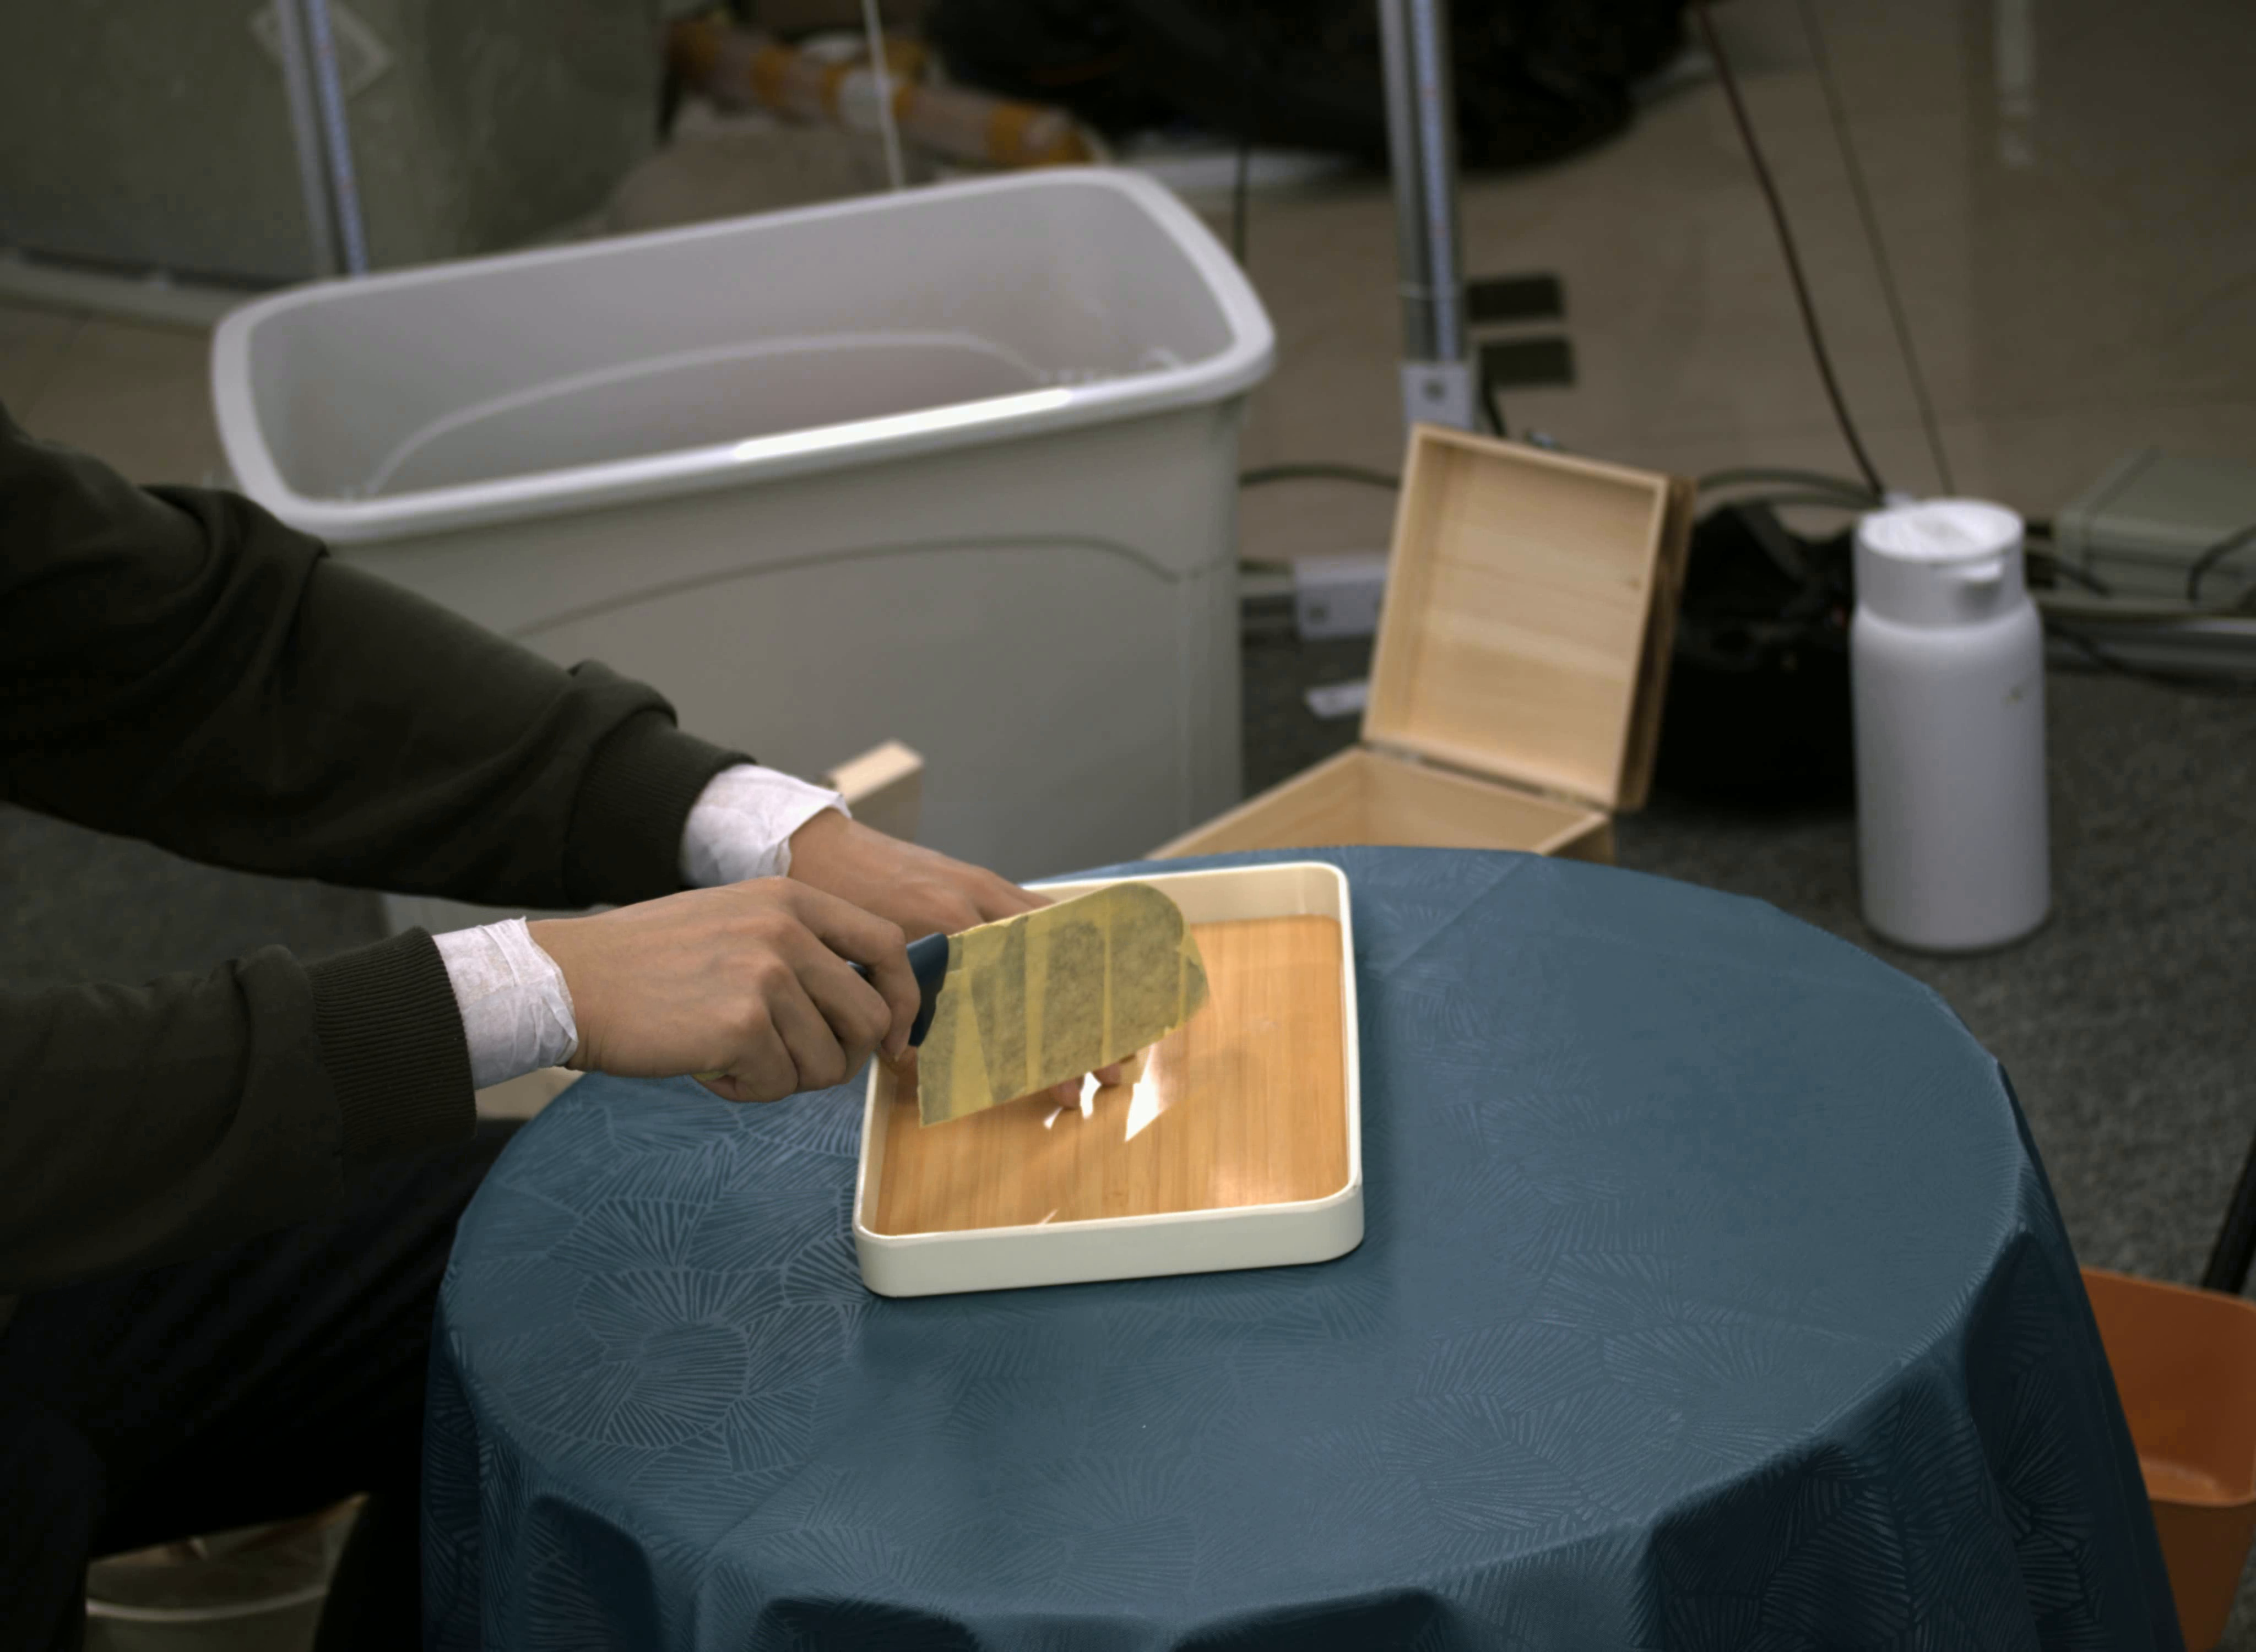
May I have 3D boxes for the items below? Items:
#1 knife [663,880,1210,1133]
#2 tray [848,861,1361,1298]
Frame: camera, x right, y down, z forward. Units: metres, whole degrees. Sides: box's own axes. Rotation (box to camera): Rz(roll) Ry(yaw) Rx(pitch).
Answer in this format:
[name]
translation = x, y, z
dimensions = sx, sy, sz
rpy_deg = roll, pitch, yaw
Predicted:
[knife]
translation = -0.064, 0.073, 2.118
dimensions = 0.027, 0.082, 0.288
rpy_deg = 12, 16, 41
[tray]
translation = -0.006, 0.095, 2.216
dimensions = 0.191, 0.028, 0.296
rpy_deg = -6, 24, 4
